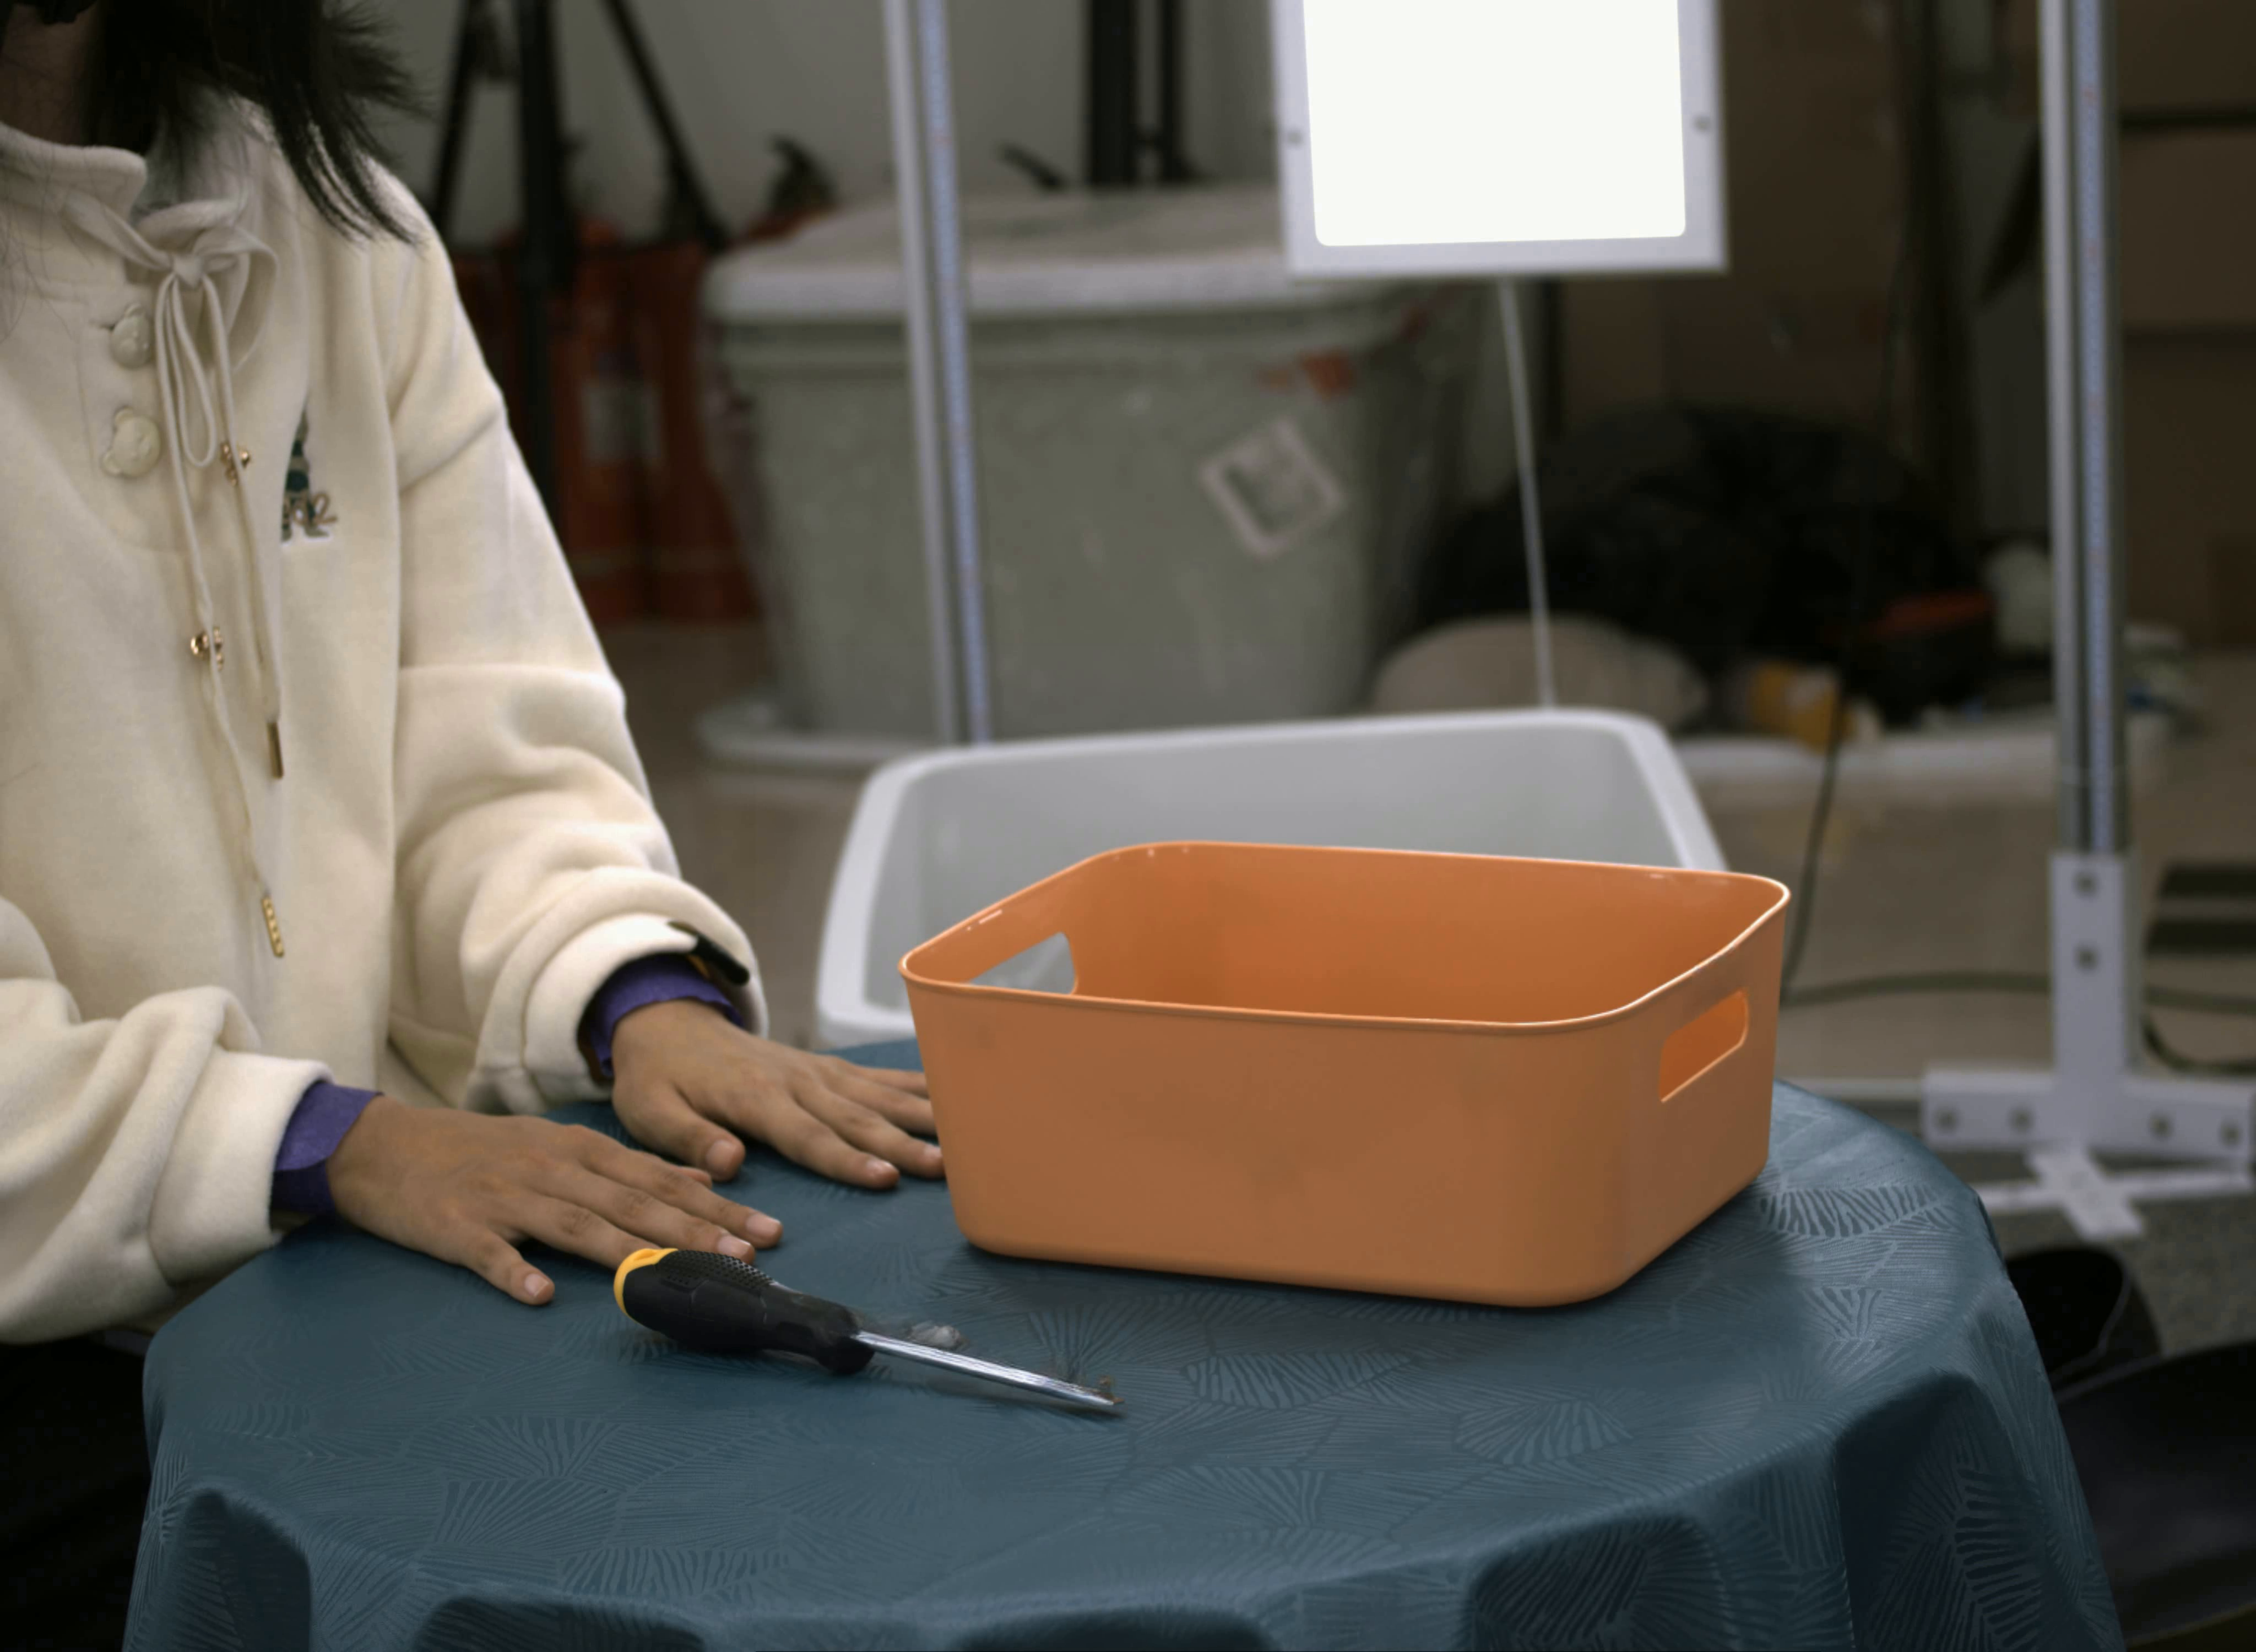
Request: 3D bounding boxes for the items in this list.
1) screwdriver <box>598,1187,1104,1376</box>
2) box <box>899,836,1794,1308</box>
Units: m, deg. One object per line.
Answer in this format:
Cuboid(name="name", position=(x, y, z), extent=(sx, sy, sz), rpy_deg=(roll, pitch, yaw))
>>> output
Cuboid(name="screwdriver", position=(-0.087, 0.148, 1.747), extent=(0.201, 0.031, 0.031), rpy_deg=(14, 21, 32))
Cuboid(name="box", position=(0.077, 0.080, 1.842), extent=(0.278, 0.103, 0.195), rpy_deg=(3, 17, 30))
